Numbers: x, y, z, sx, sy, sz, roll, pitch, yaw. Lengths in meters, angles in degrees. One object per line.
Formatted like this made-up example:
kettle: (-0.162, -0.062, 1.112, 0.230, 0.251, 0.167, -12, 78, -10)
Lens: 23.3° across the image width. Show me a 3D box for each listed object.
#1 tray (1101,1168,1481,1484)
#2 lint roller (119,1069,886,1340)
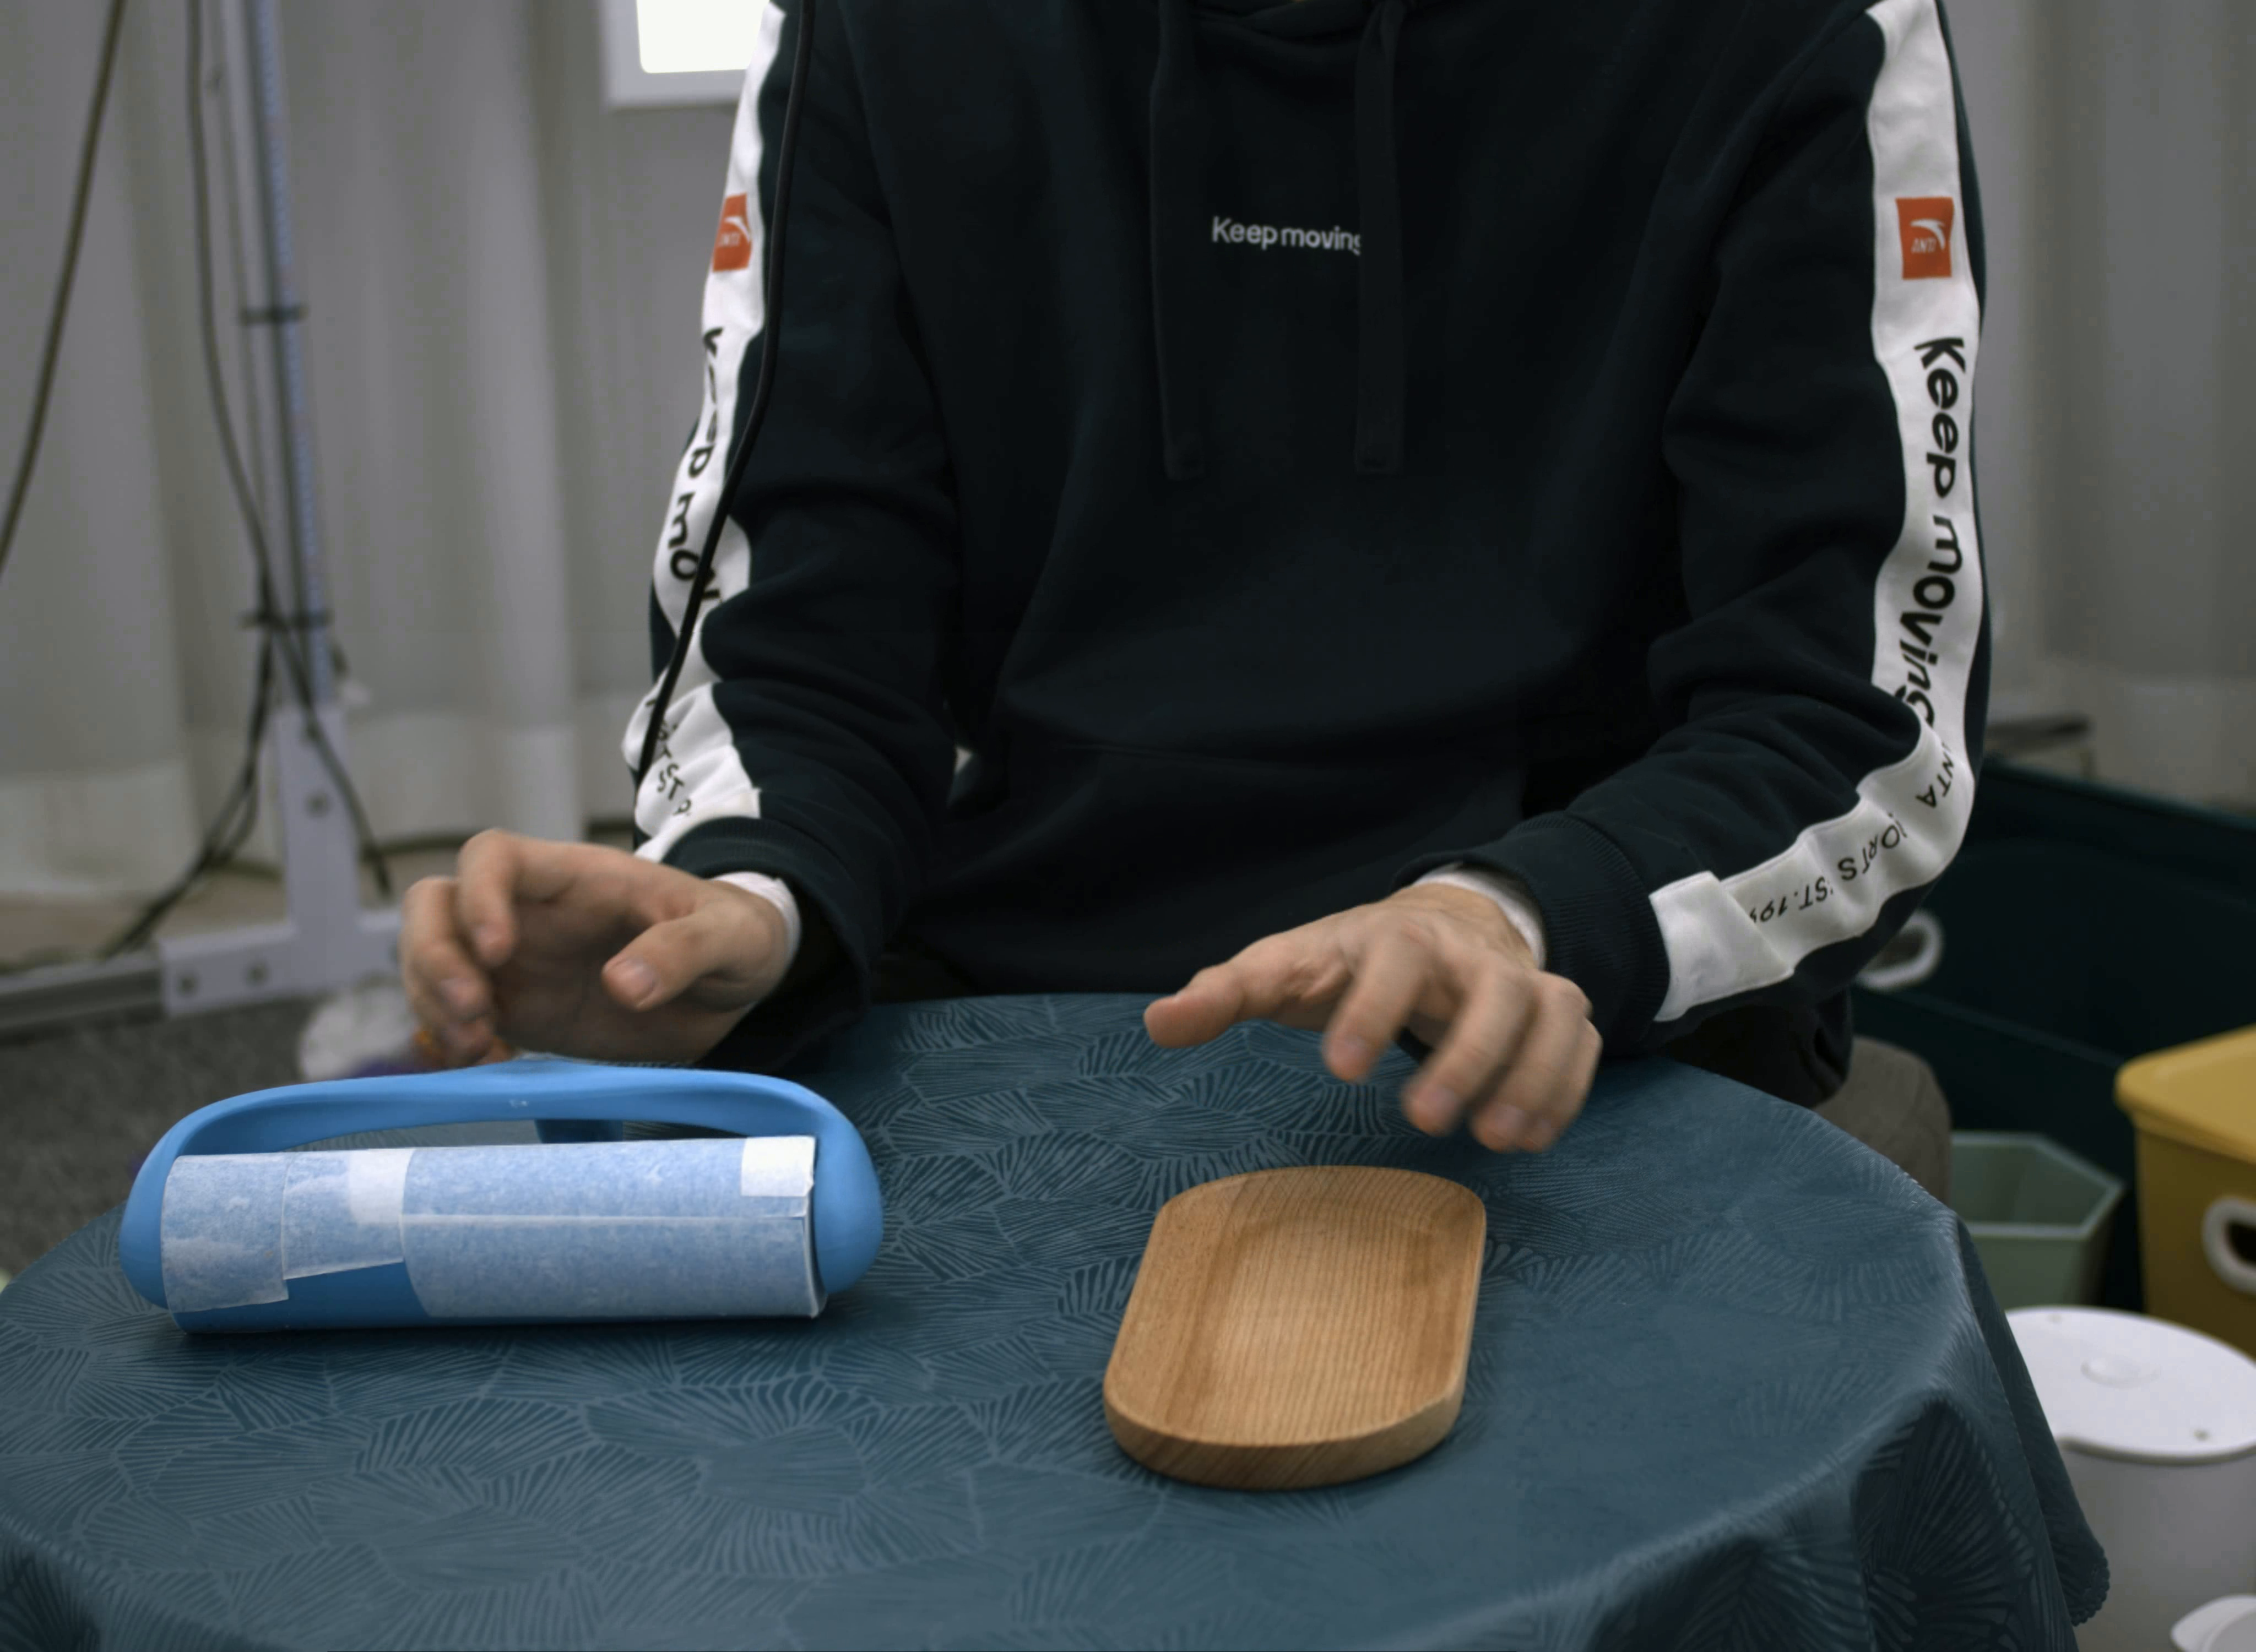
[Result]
tray: (0.049, 0.141, 1.575, 0.101, 0.020, 0.232, 0, 14, 6)
lint roller: (-0.184, 0.105, 1.677, 0.228, 0.067, 0.181, -4, 16, 2)
